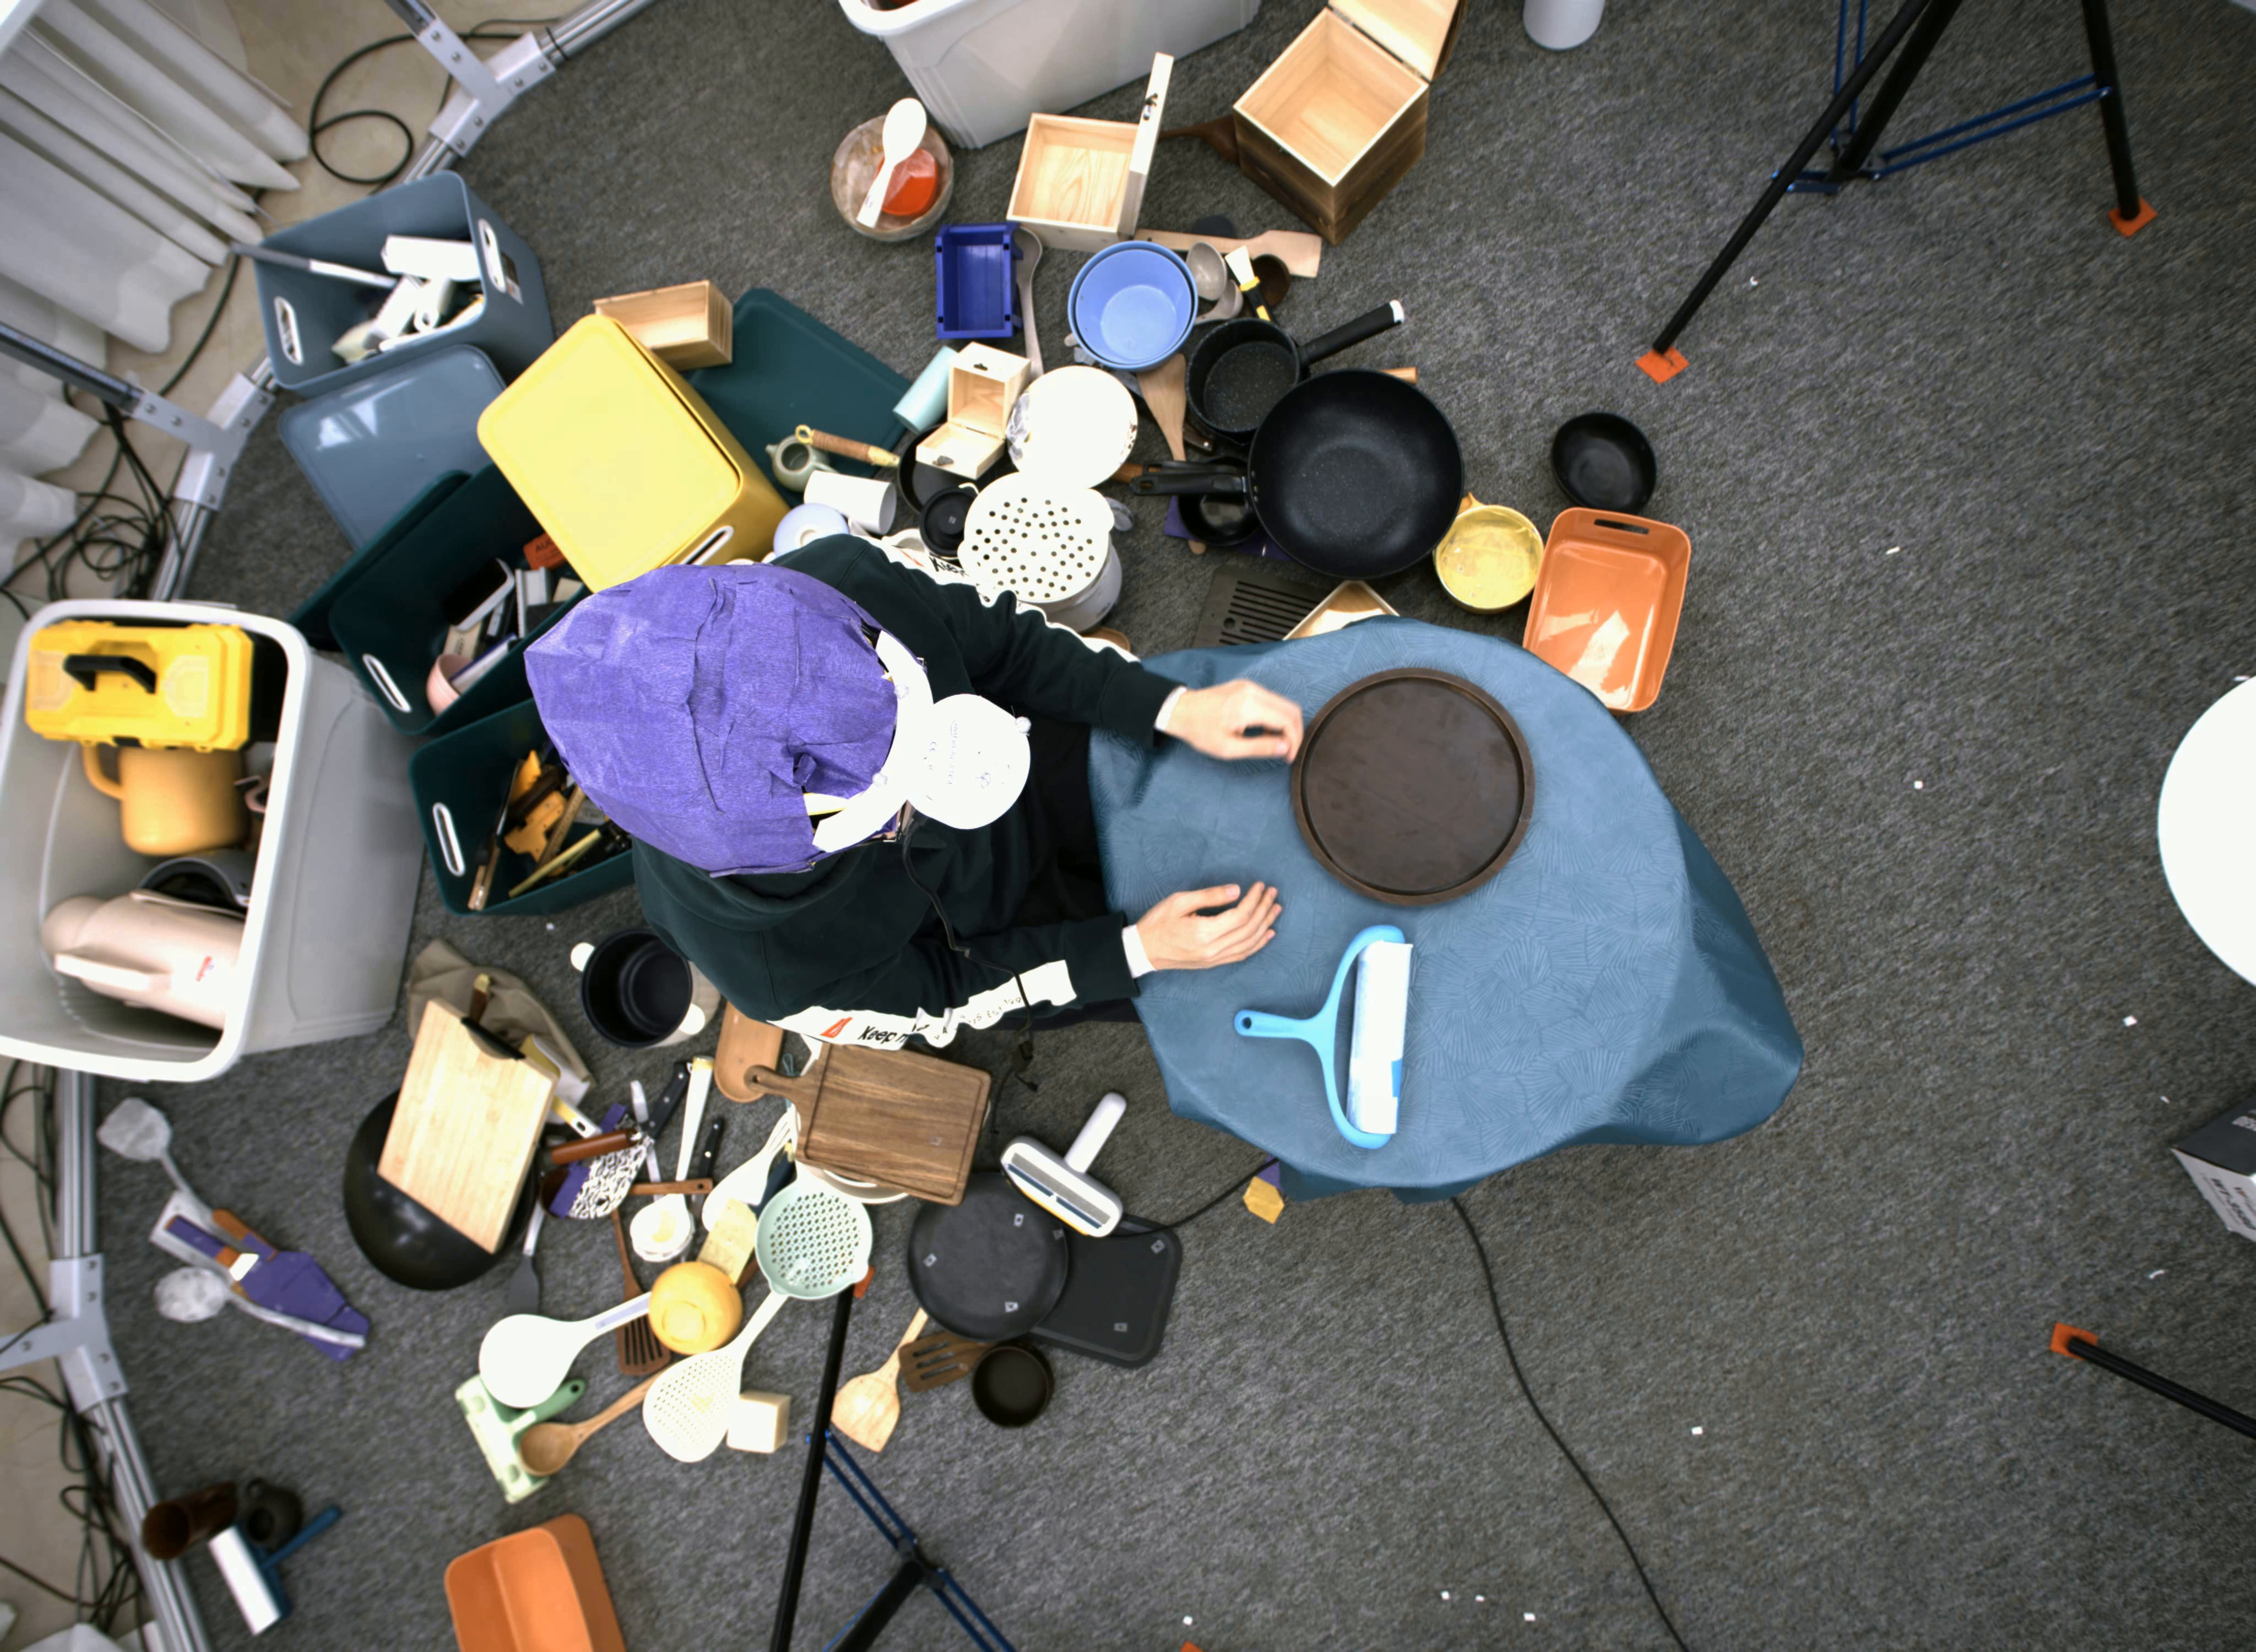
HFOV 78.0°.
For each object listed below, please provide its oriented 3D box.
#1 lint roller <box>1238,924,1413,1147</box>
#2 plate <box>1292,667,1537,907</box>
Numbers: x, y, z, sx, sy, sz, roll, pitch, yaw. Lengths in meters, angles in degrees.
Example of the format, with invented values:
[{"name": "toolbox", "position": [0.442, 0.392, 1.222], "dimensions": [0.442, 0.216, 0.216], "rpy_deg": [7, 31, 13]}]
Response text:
[{"name": "lint roller", "position": [0.201, 0.212, 1.432], "dimensions": [0.181, 0.068, 0.228], "rpy_deg": [1, 89, 10]}, {"name": "plate", "position": [0.299, -0.043, 1.444], "dimensions": [0.256, 0.029, 0.253], "rpy_deg": [-1, 87, 9]}]
